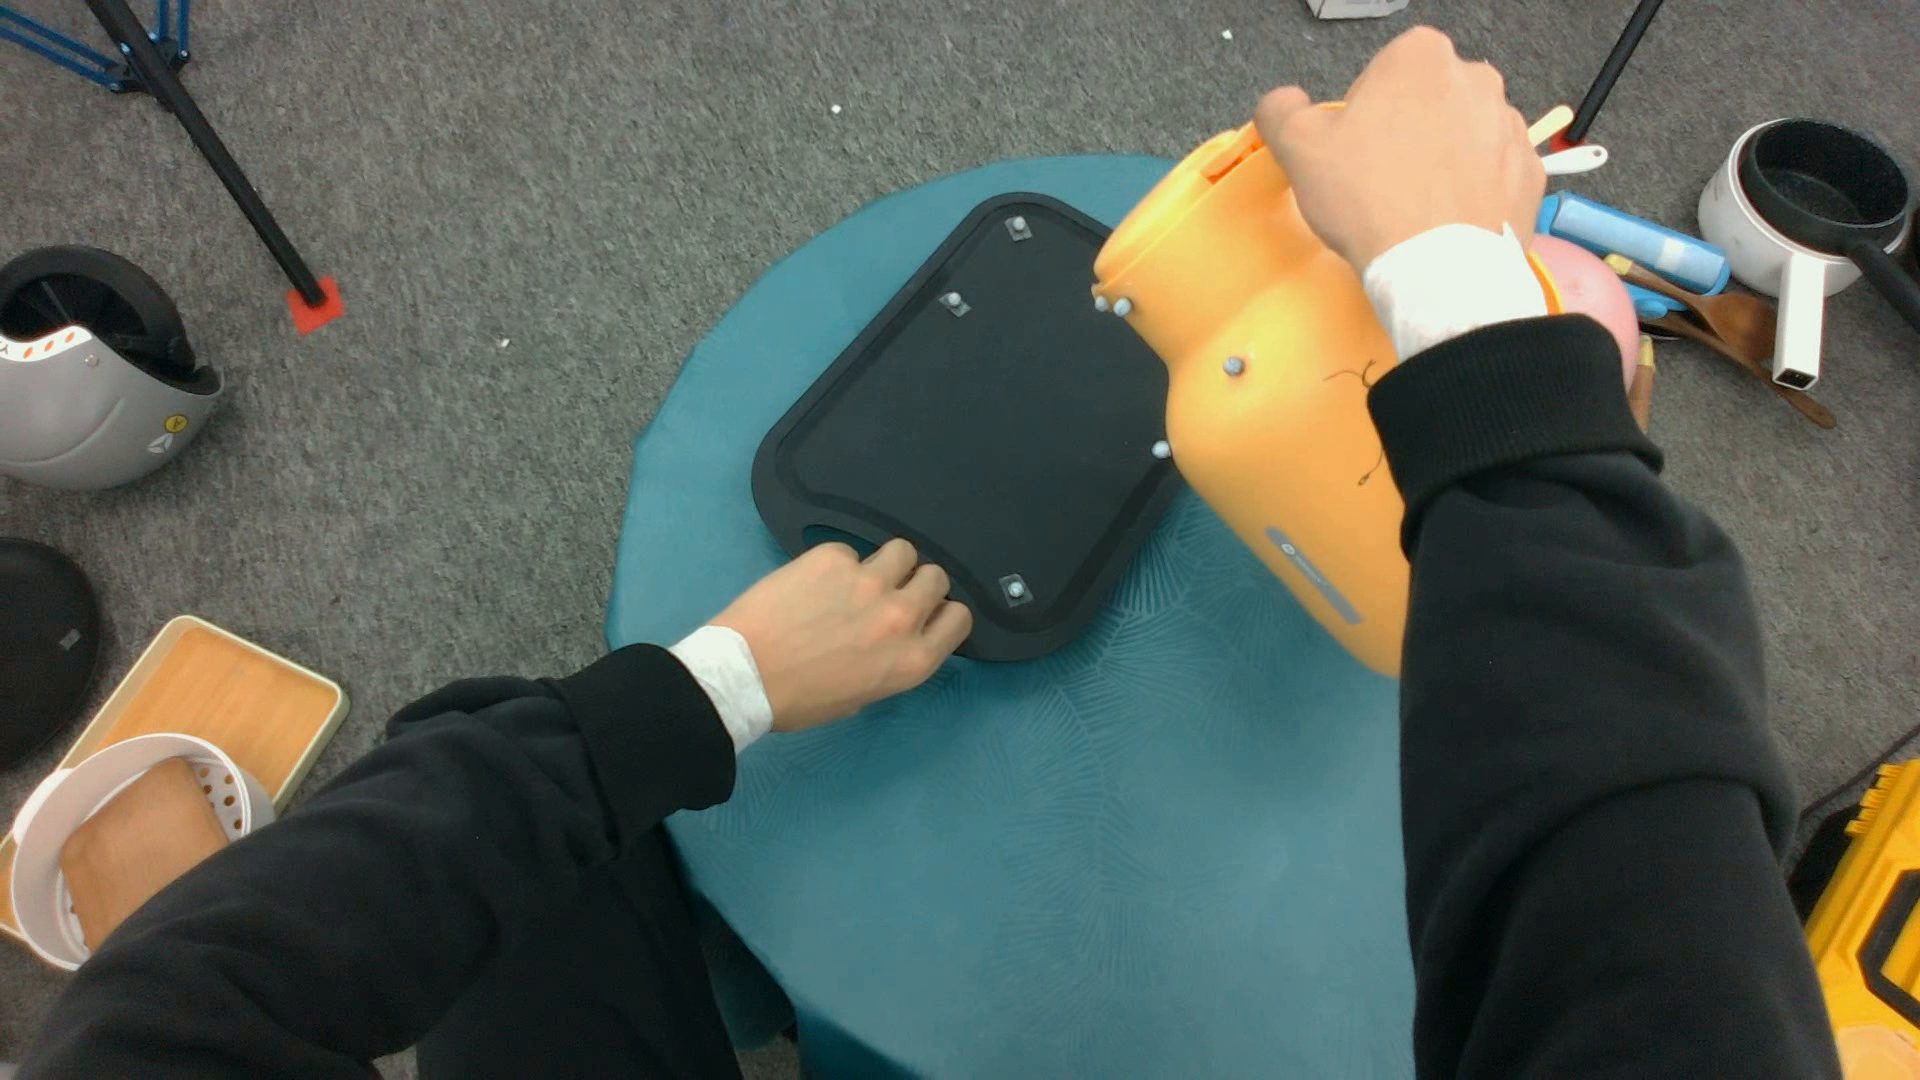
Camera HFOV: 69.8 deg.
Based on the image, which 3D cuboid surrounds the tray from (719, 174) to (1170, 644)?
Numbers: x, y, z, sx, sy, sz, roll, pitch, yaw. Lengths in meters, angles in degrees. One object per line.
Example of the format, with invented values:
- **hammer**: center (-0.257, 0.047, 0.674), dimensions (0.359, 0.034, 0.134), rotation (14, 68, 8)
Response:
- **tray**: center (0.015, -0.086, 0.799), dimensions (0.211, 0.010, 0.327), rotation (32, 60, 10)

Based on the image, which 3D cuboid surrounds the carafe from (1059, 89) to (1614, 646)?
- **carafe**: center (0.172, -0.084, 0.631), dimensions (0.260, 0.201, 0.164), rotation (41, 67, -8)
